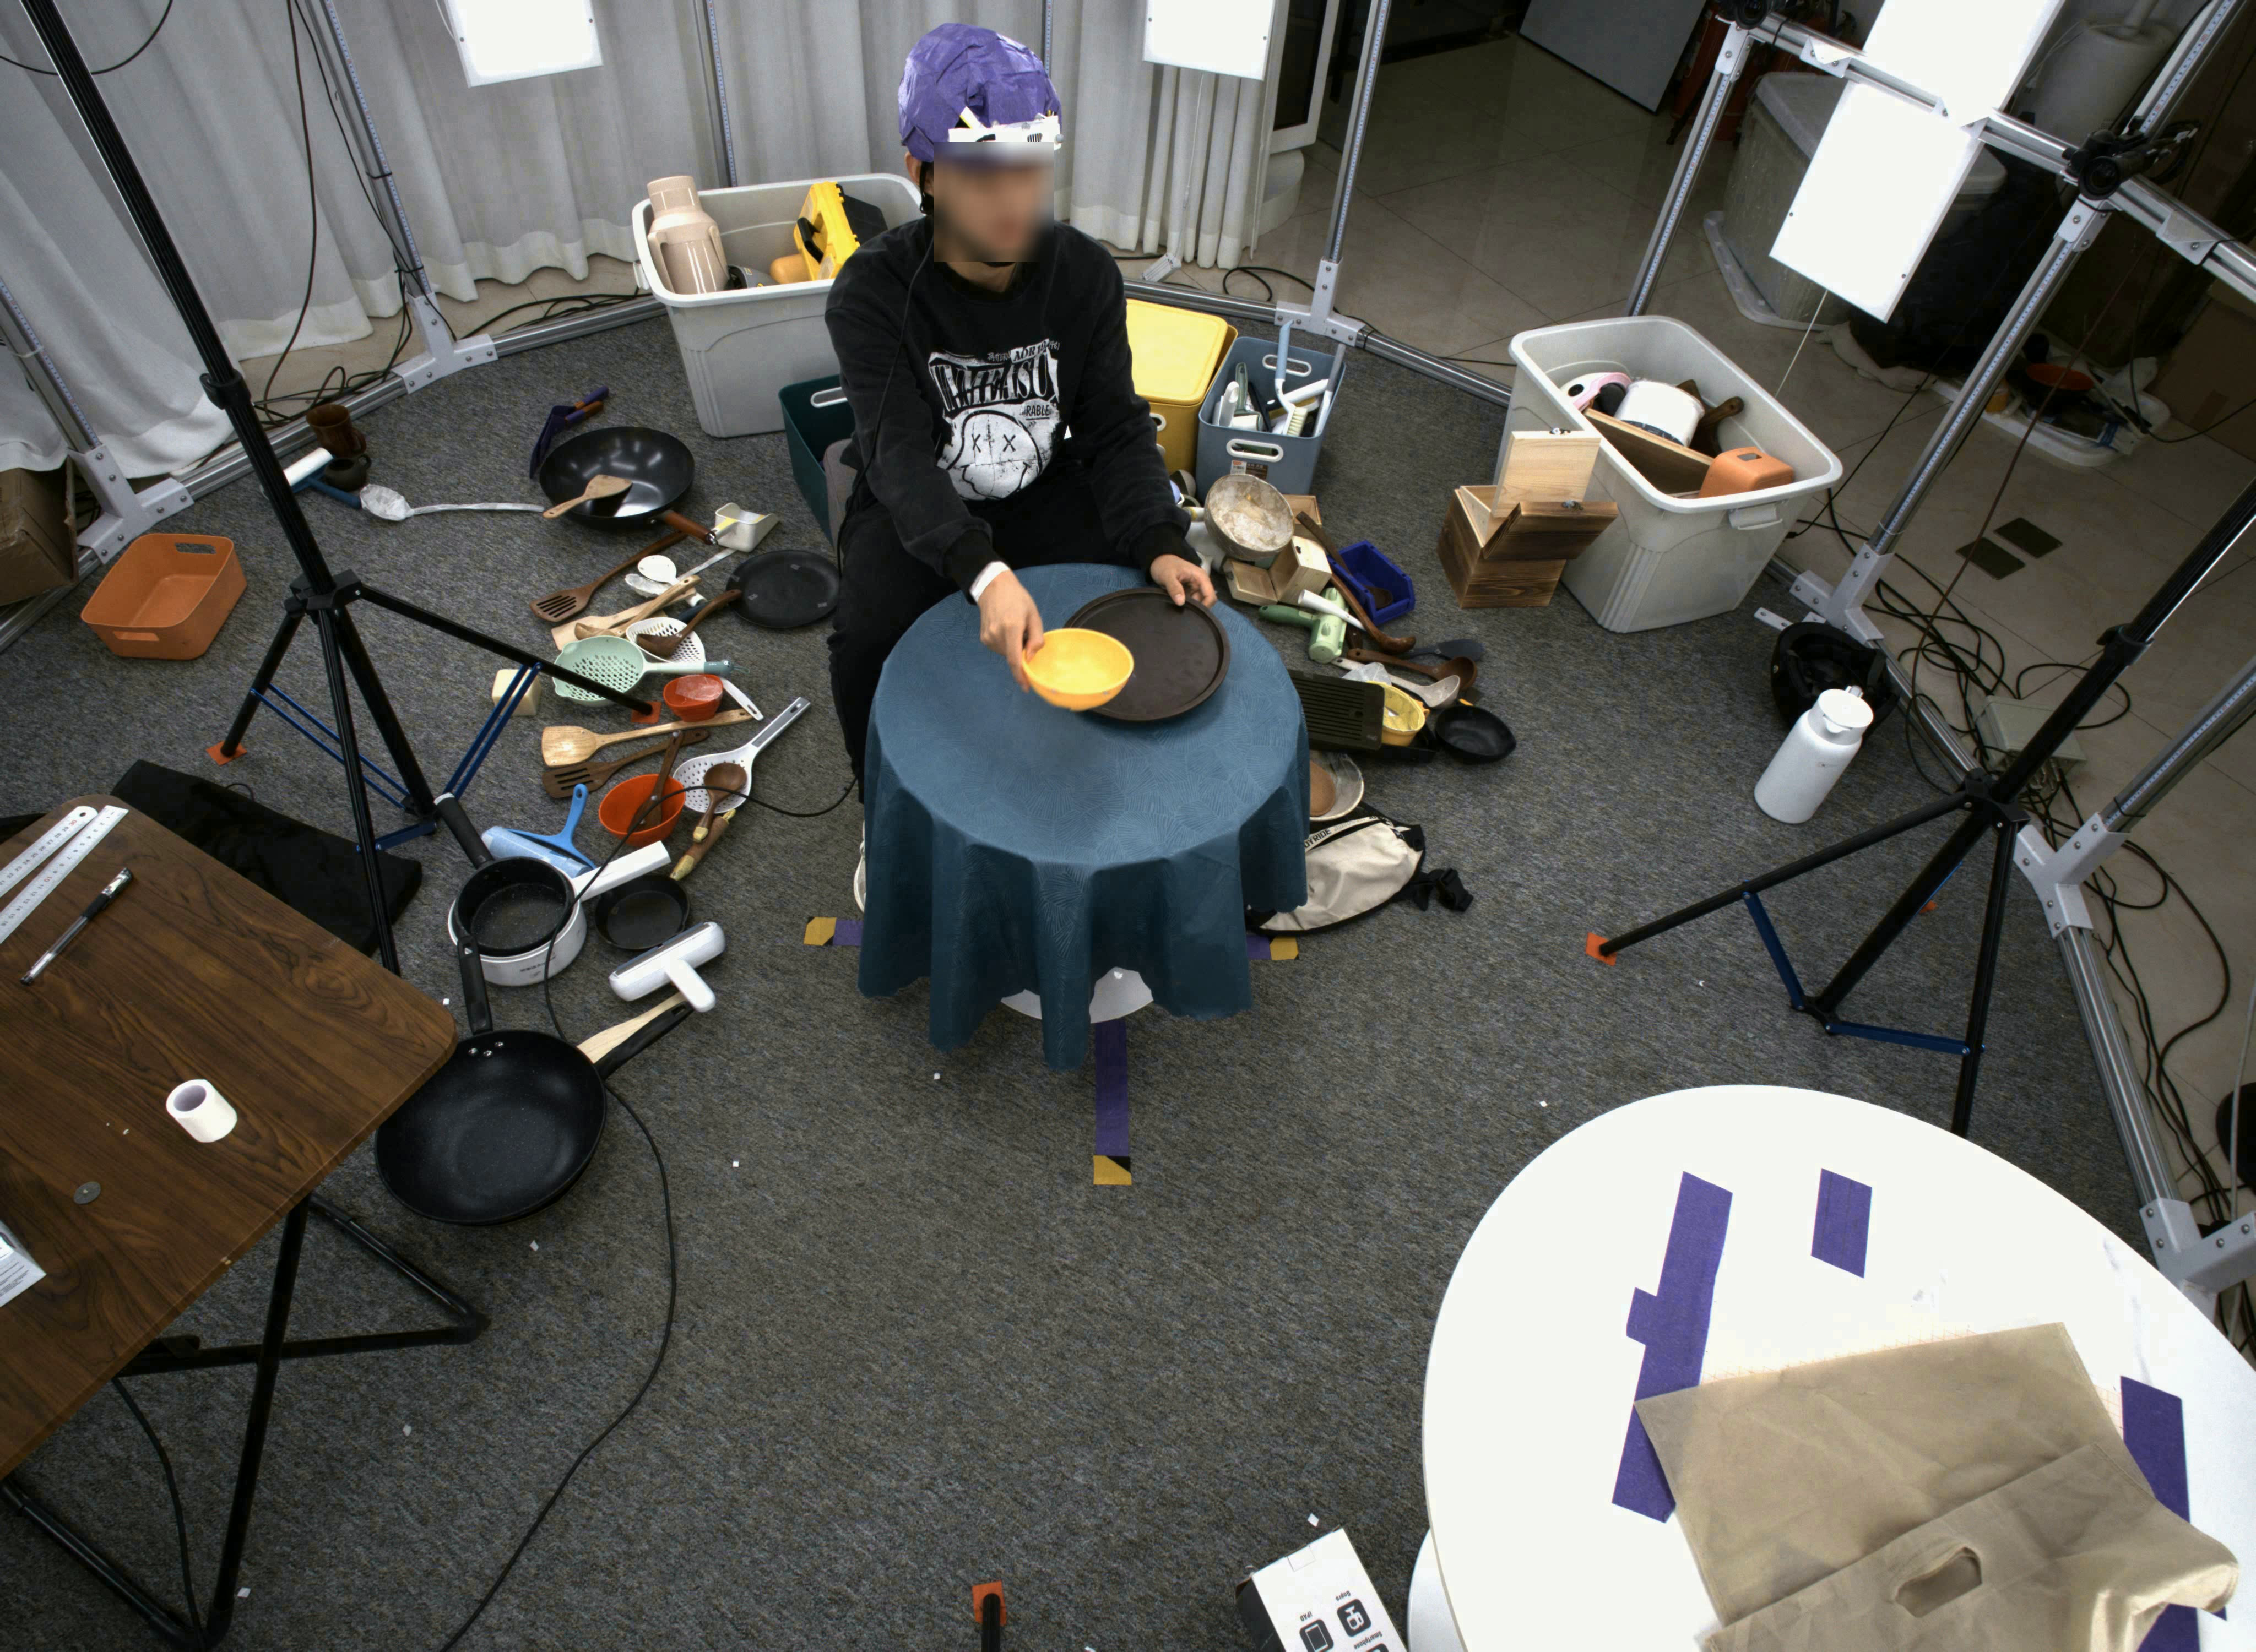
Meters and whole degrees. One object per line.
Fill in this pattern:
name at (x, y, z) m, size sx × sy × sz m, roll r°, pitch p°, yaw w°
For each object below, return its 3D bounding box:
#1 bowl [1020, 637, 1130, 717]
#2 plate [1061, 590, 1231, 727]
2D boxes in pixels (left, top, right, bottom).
bowl at (-0.071, -0.187, 1.689) m, size 0.145 × 0.059 × 0.149 m, roll 3°, pitch 39°, yaw -3°
plate at (0.023, -0.244, 1.864) m, size 0.255 × 0.028 × 0.261 m, roll -3°, pitch 54°, yaw 4°
